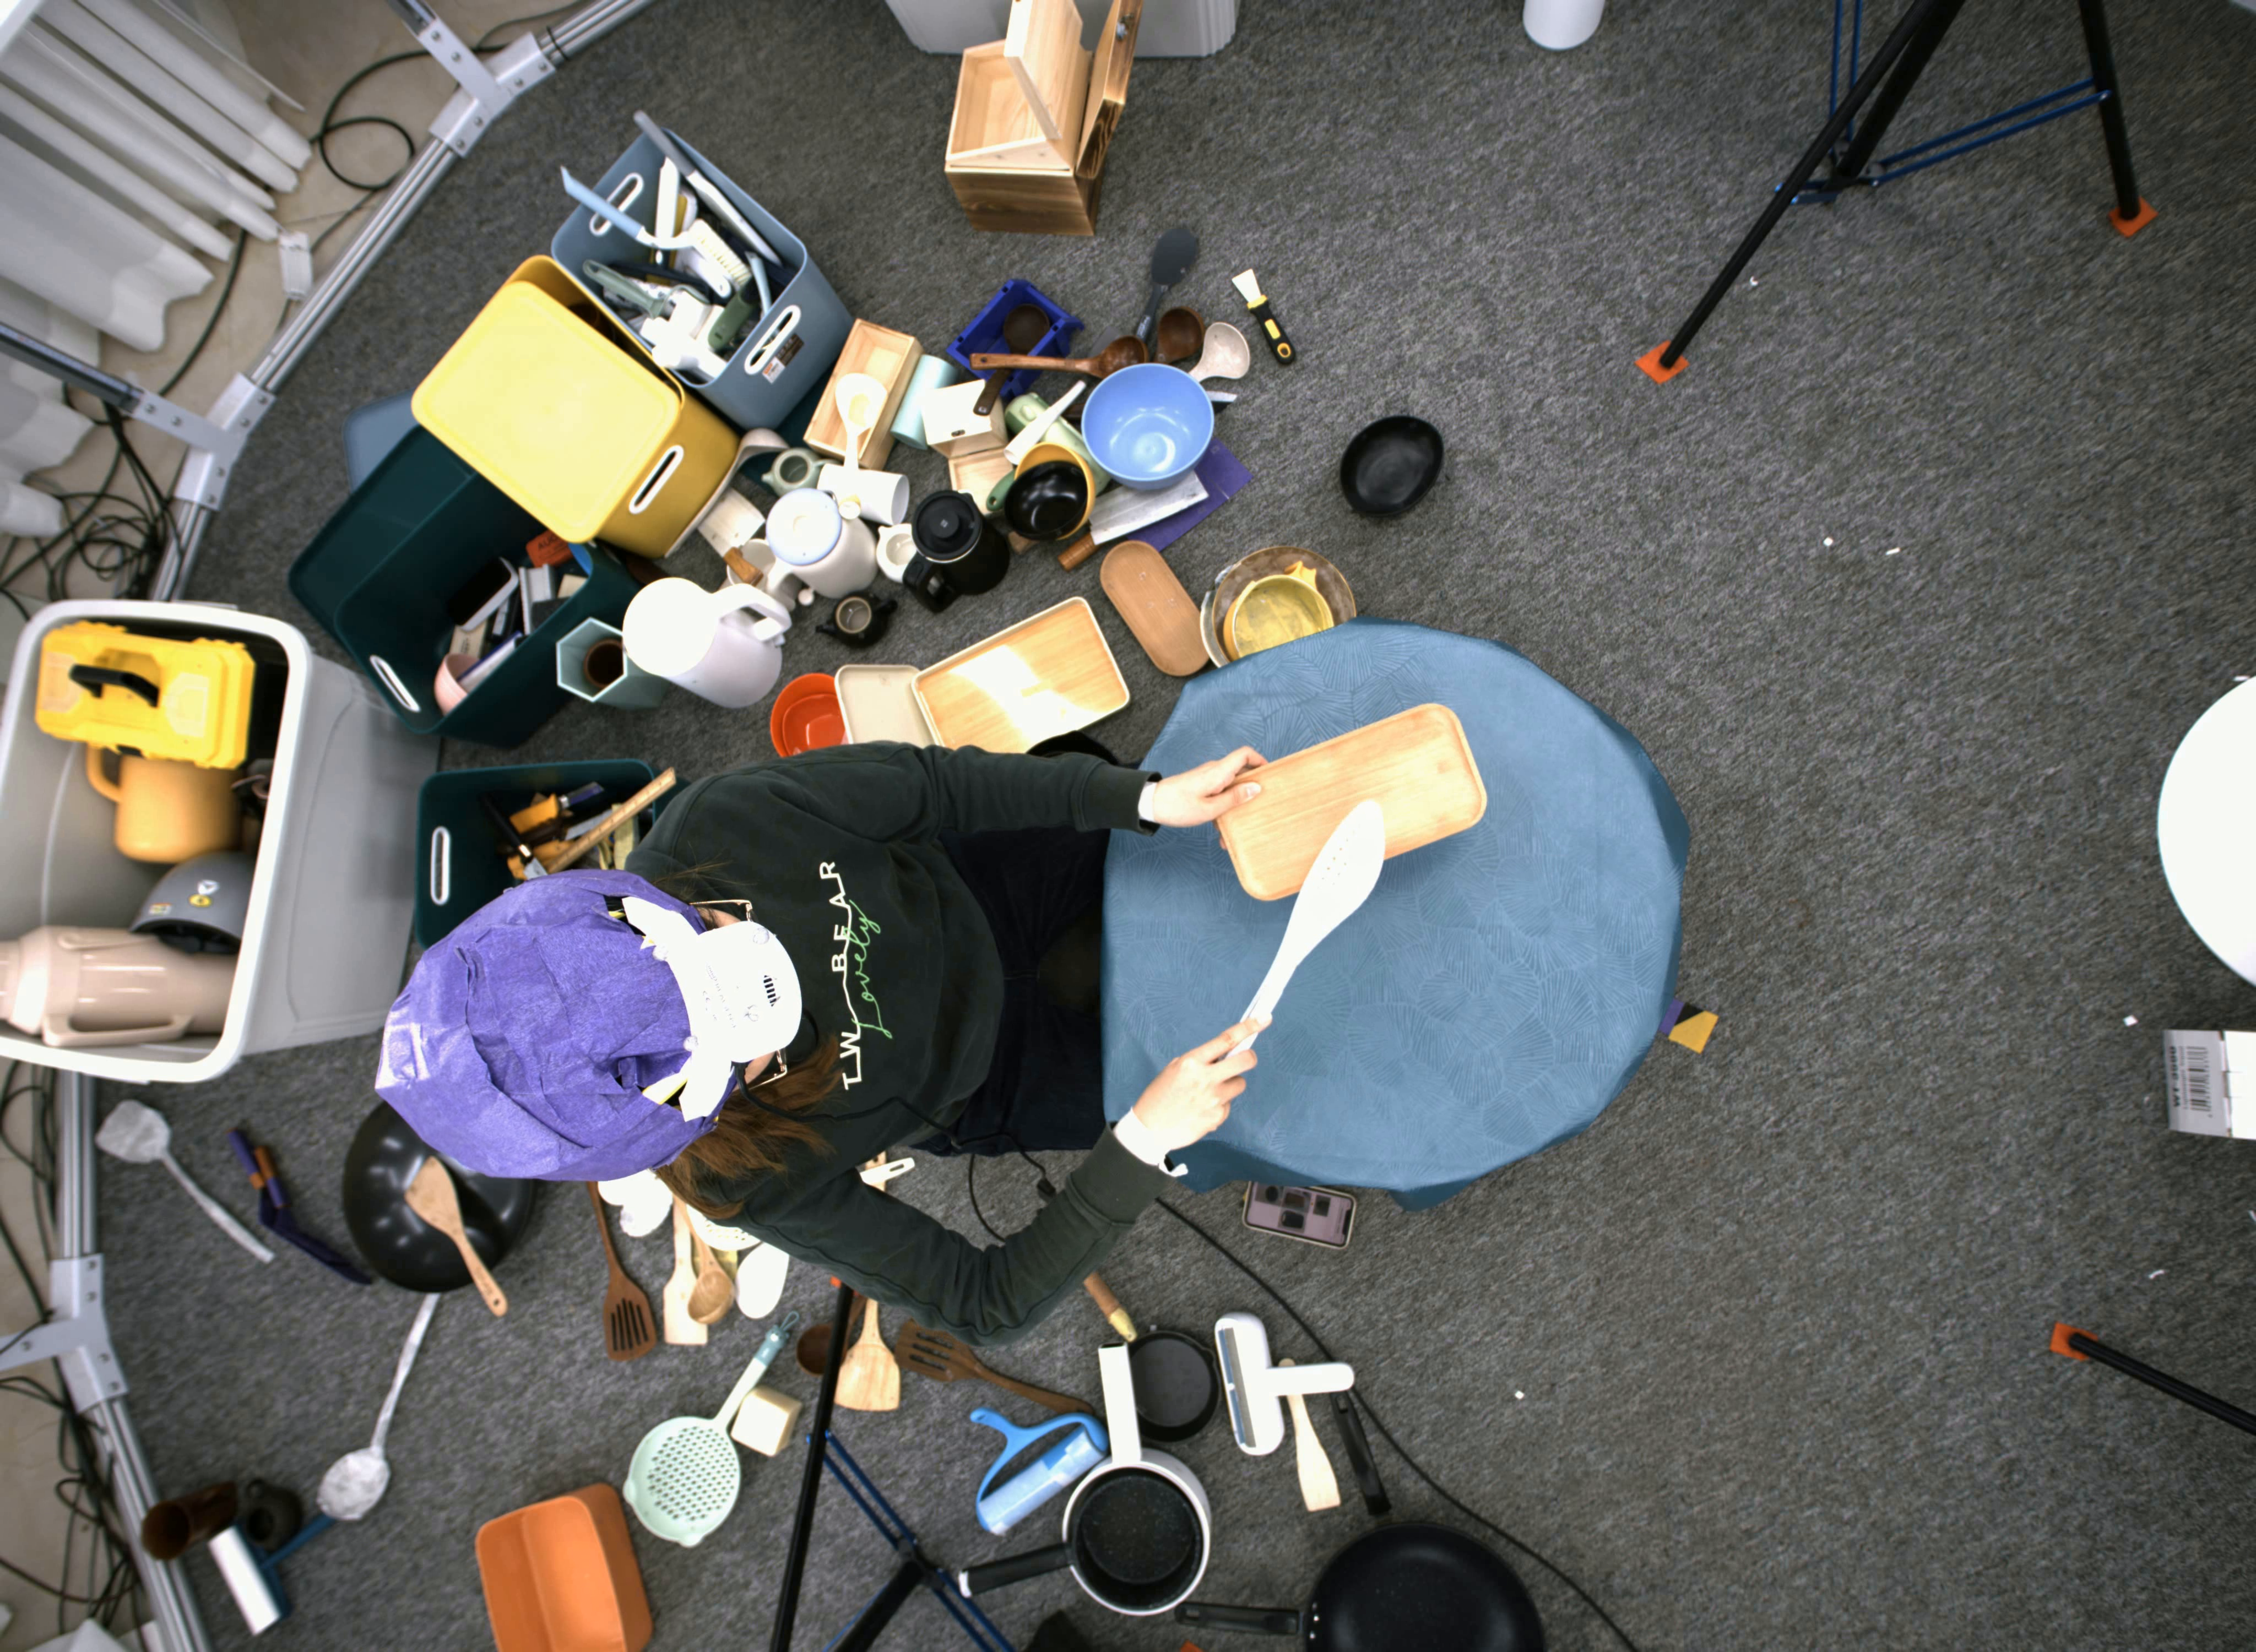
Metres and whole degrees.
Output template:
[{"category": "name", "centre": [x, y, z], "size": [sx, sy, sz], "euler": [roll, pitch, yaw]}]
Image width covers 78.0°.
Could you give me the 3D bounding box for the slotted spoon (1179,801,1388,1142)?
[{"category": "slotted spoon", "centre": [0.141, 0.132, 1.255], "size": [0.046, 0.136, 0.350], "euler": [35, 90, -3]}]

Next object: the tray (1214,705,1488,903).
[{"category": "tray", "centre": [0.215, -0.022, 1.335], "size": [0.252, 0.023, 0.131], "euler": [-20, 94, 9]}]
